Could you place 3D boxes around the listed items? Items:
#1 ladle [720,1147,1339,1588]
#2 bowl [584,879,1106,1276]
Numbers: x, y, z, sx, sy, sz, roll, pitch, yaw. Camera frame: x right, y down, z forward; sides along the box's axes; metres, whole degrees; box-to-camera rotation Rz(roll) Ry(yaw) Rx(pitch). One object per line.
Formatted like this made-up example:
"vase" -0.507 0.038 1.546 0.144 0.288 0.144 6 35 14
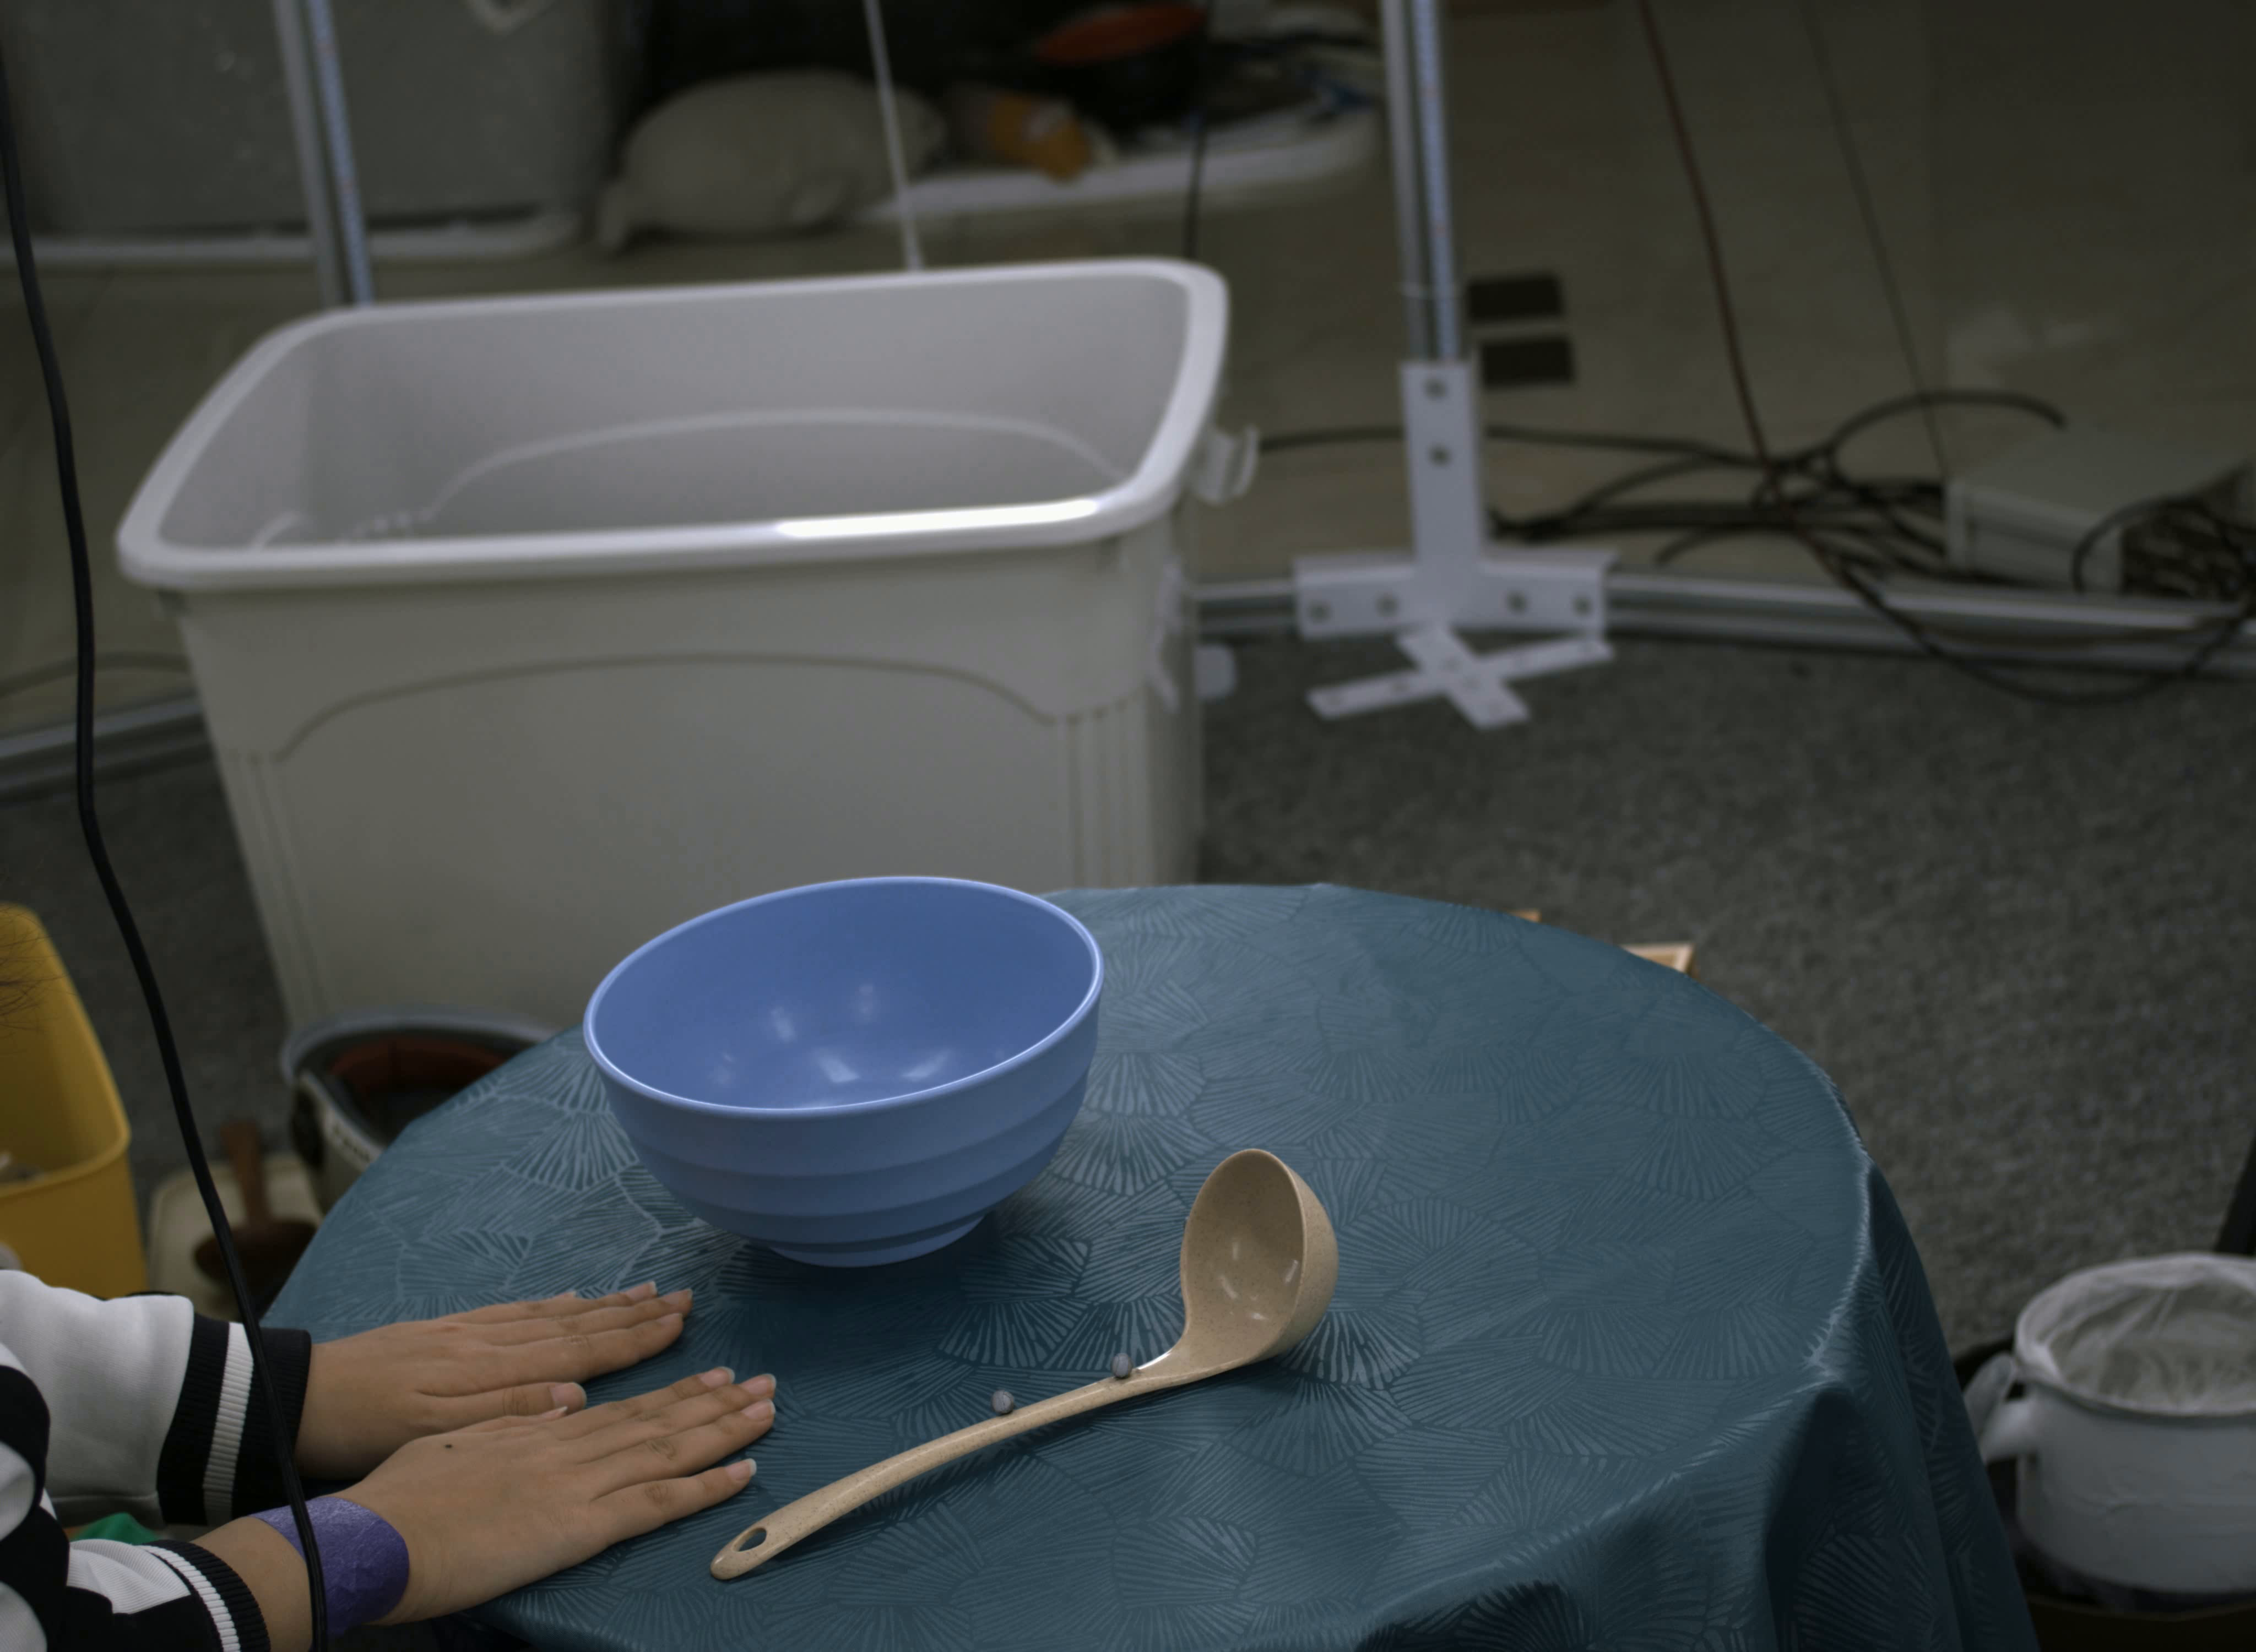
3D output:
"ladle" -0.038 0.184 1.973 0.253 0.074 0.071 -21 28 -29
"bowl" -0.102 0.106 2.138 0.196 0.097 0.193 -5 27 2
